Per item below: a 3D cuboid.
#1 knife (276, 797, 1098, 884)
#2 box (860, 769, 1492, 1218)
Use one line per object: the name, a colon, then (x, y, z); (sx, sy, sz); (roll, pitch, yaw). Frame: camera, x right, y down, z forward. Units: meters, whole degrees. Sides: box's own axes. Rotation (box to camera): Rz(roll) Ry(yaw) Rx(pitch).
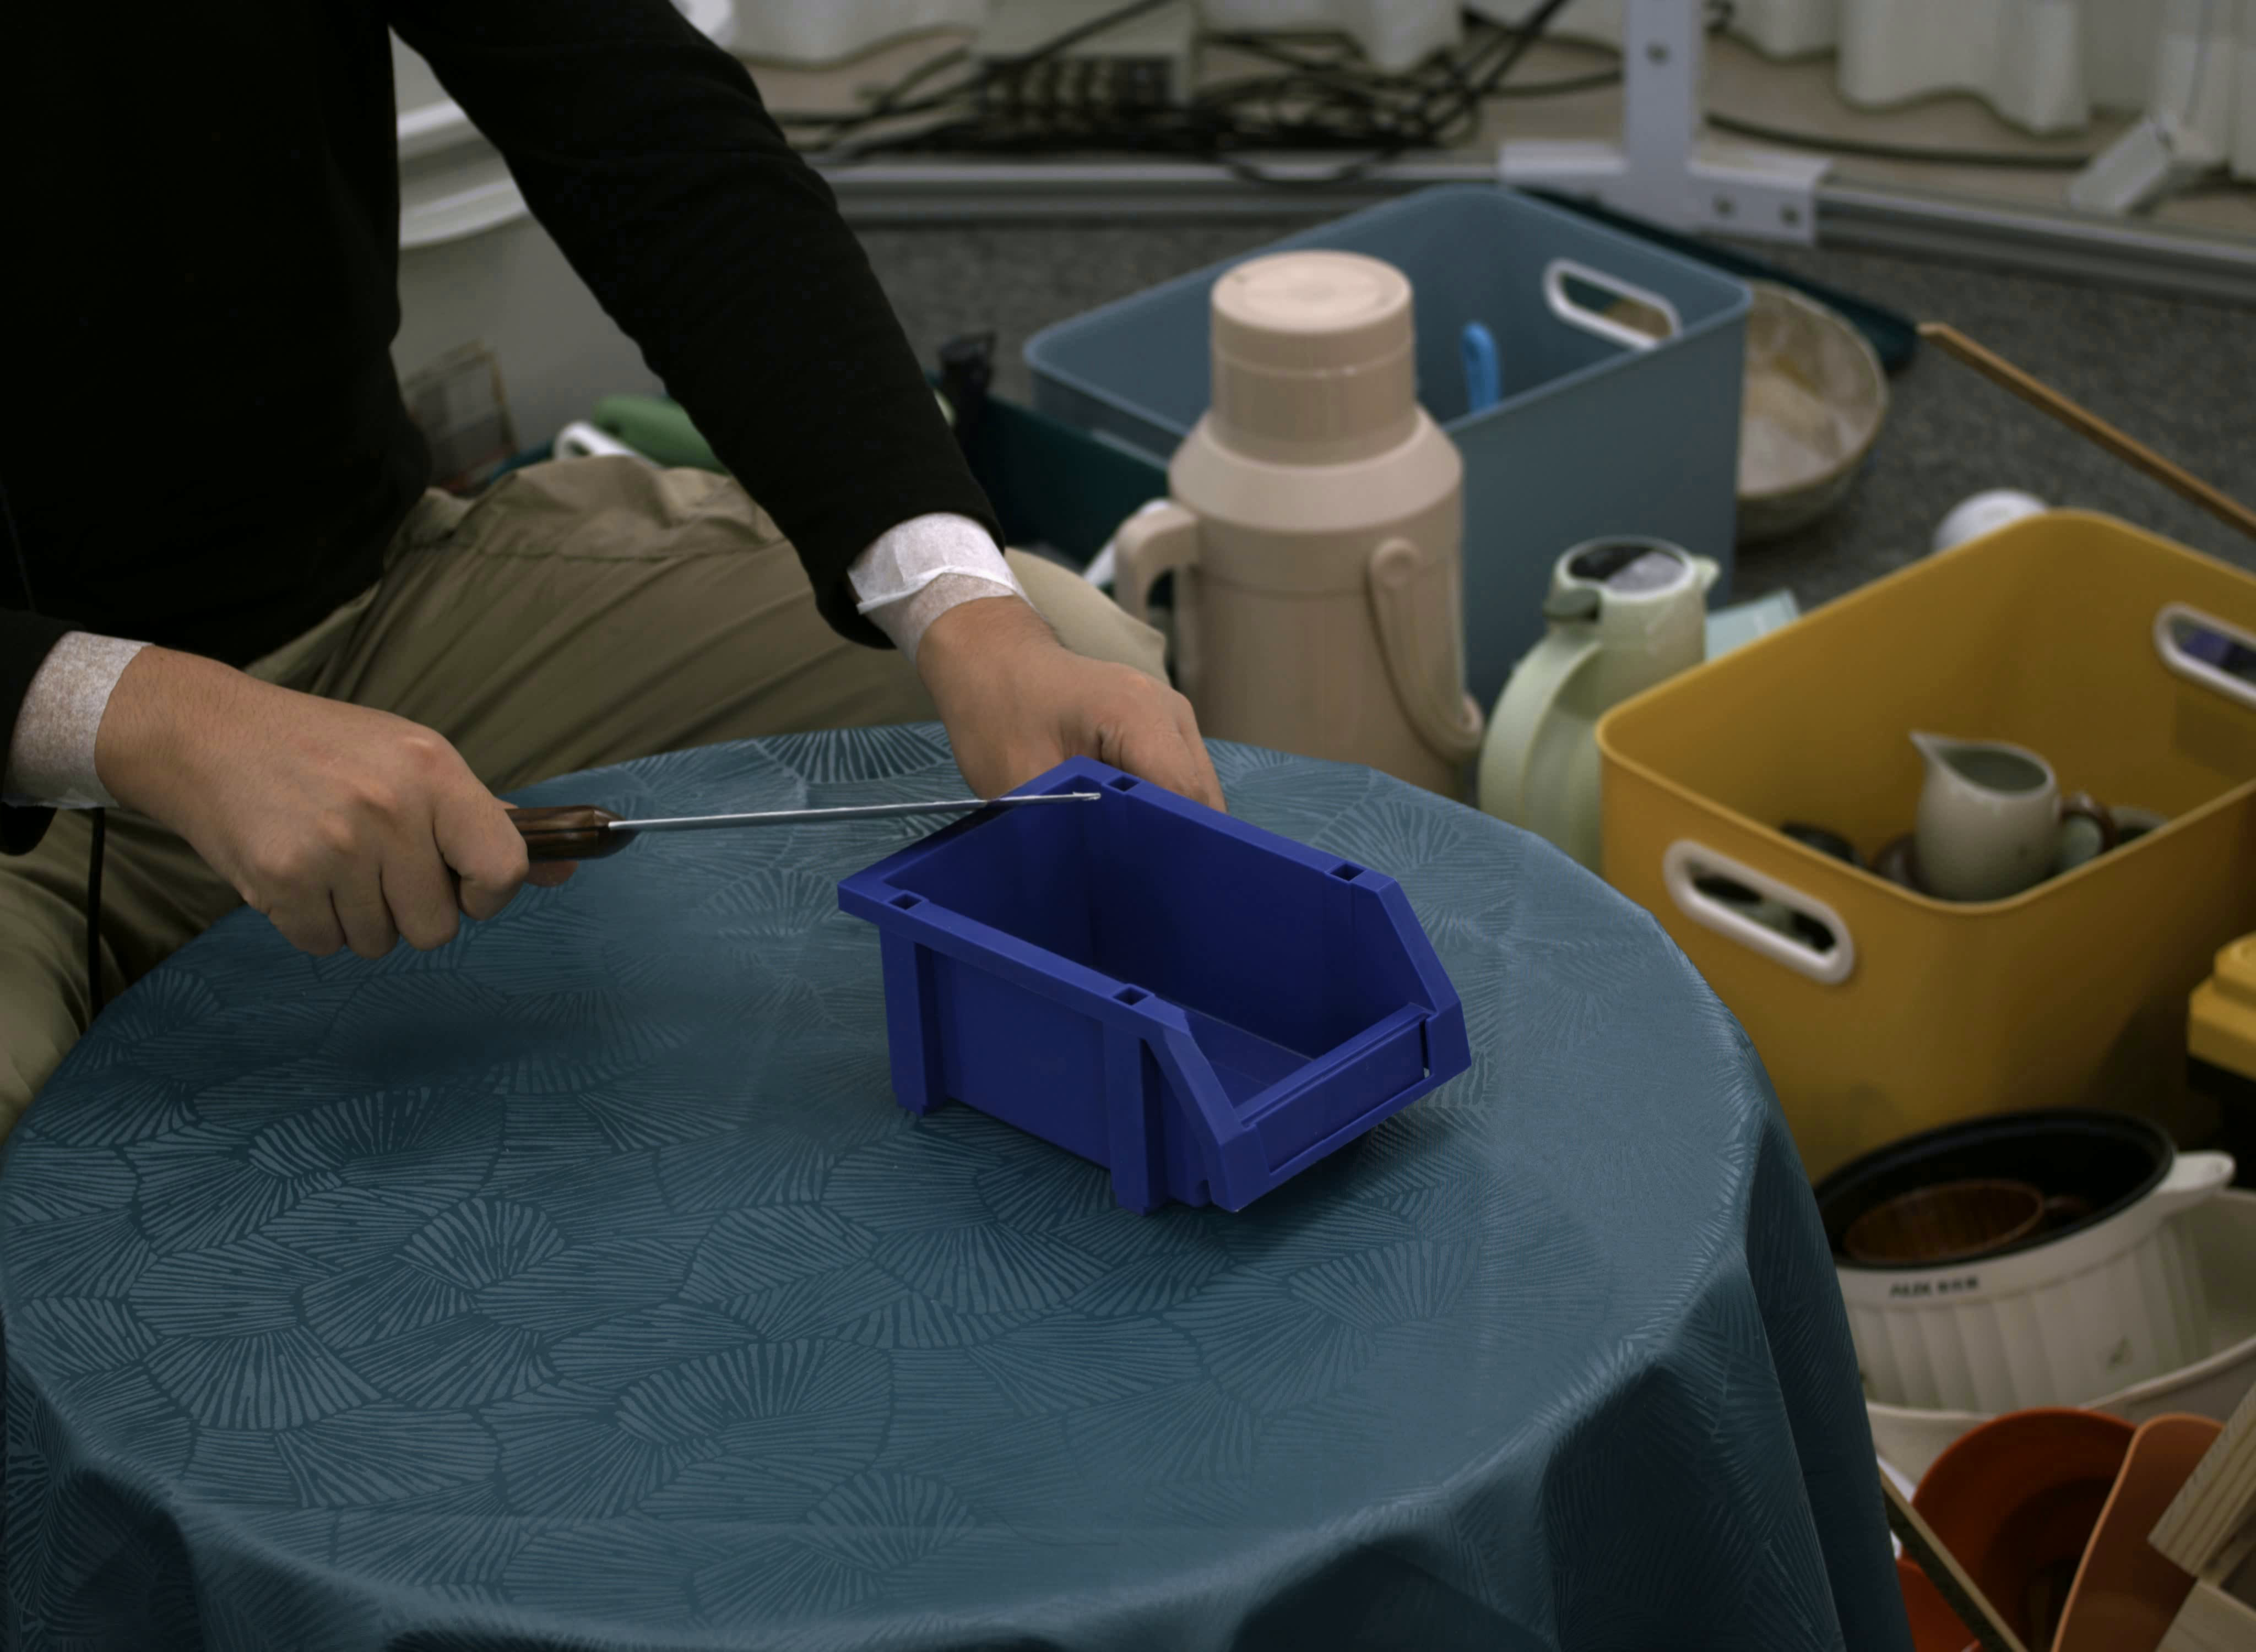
knife: (-0.152, 0.001, 1.925); (0.287, 0.020, 0.050); (-4, -3, 5)
box: (0.017, 0.059, 1.893); (0.179, 0.081, 0.126); (20, 34, 41)
